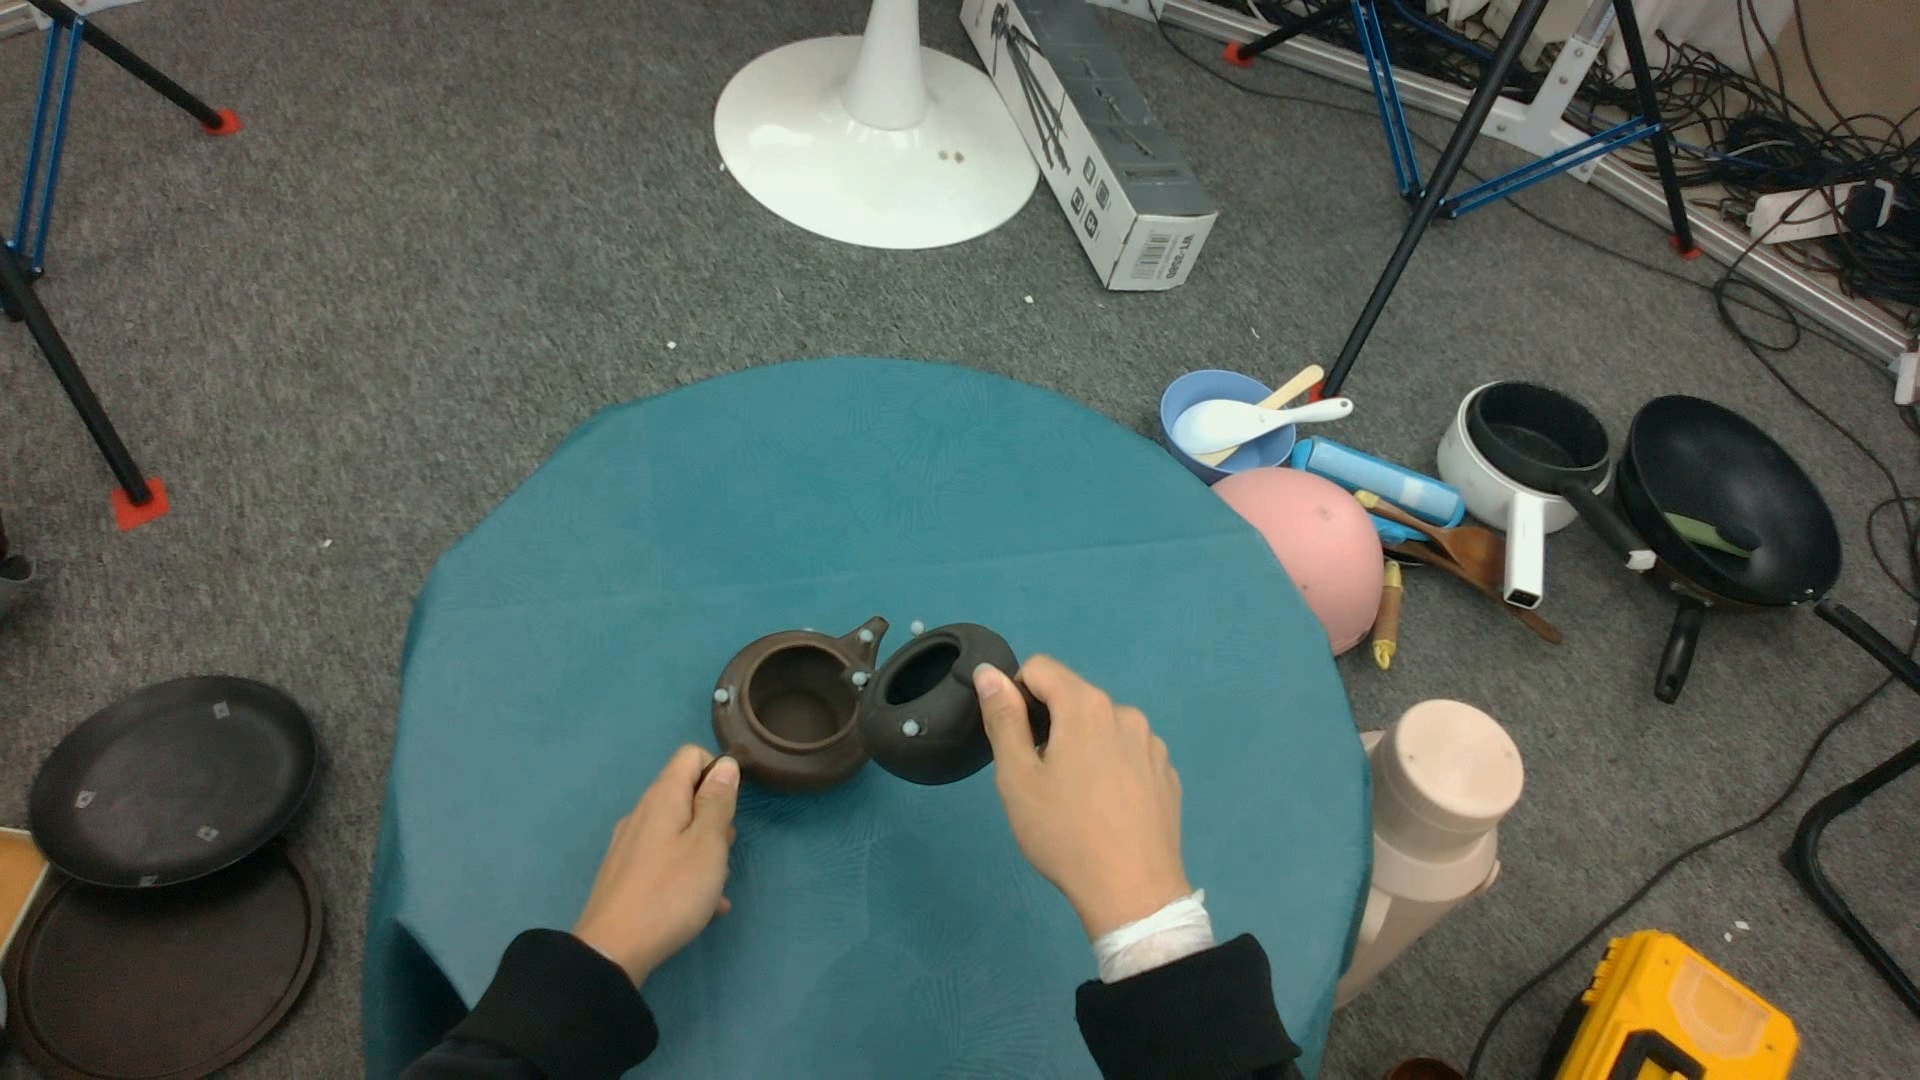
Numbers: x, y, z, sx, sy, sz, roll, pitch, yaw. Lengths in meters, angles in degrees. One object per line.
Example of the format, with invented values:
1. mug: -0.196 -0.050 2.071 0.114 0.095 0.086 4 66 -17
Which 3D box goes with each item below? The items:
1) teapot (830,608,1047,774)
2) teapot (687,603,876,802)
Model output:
1. teapot: -0.011 0.079 0.716 0.064 0.154 0.093 53 58 -26
2. teapot: -0.103 0.097 0.806 0.102 0.053 0.154 34 54 12
